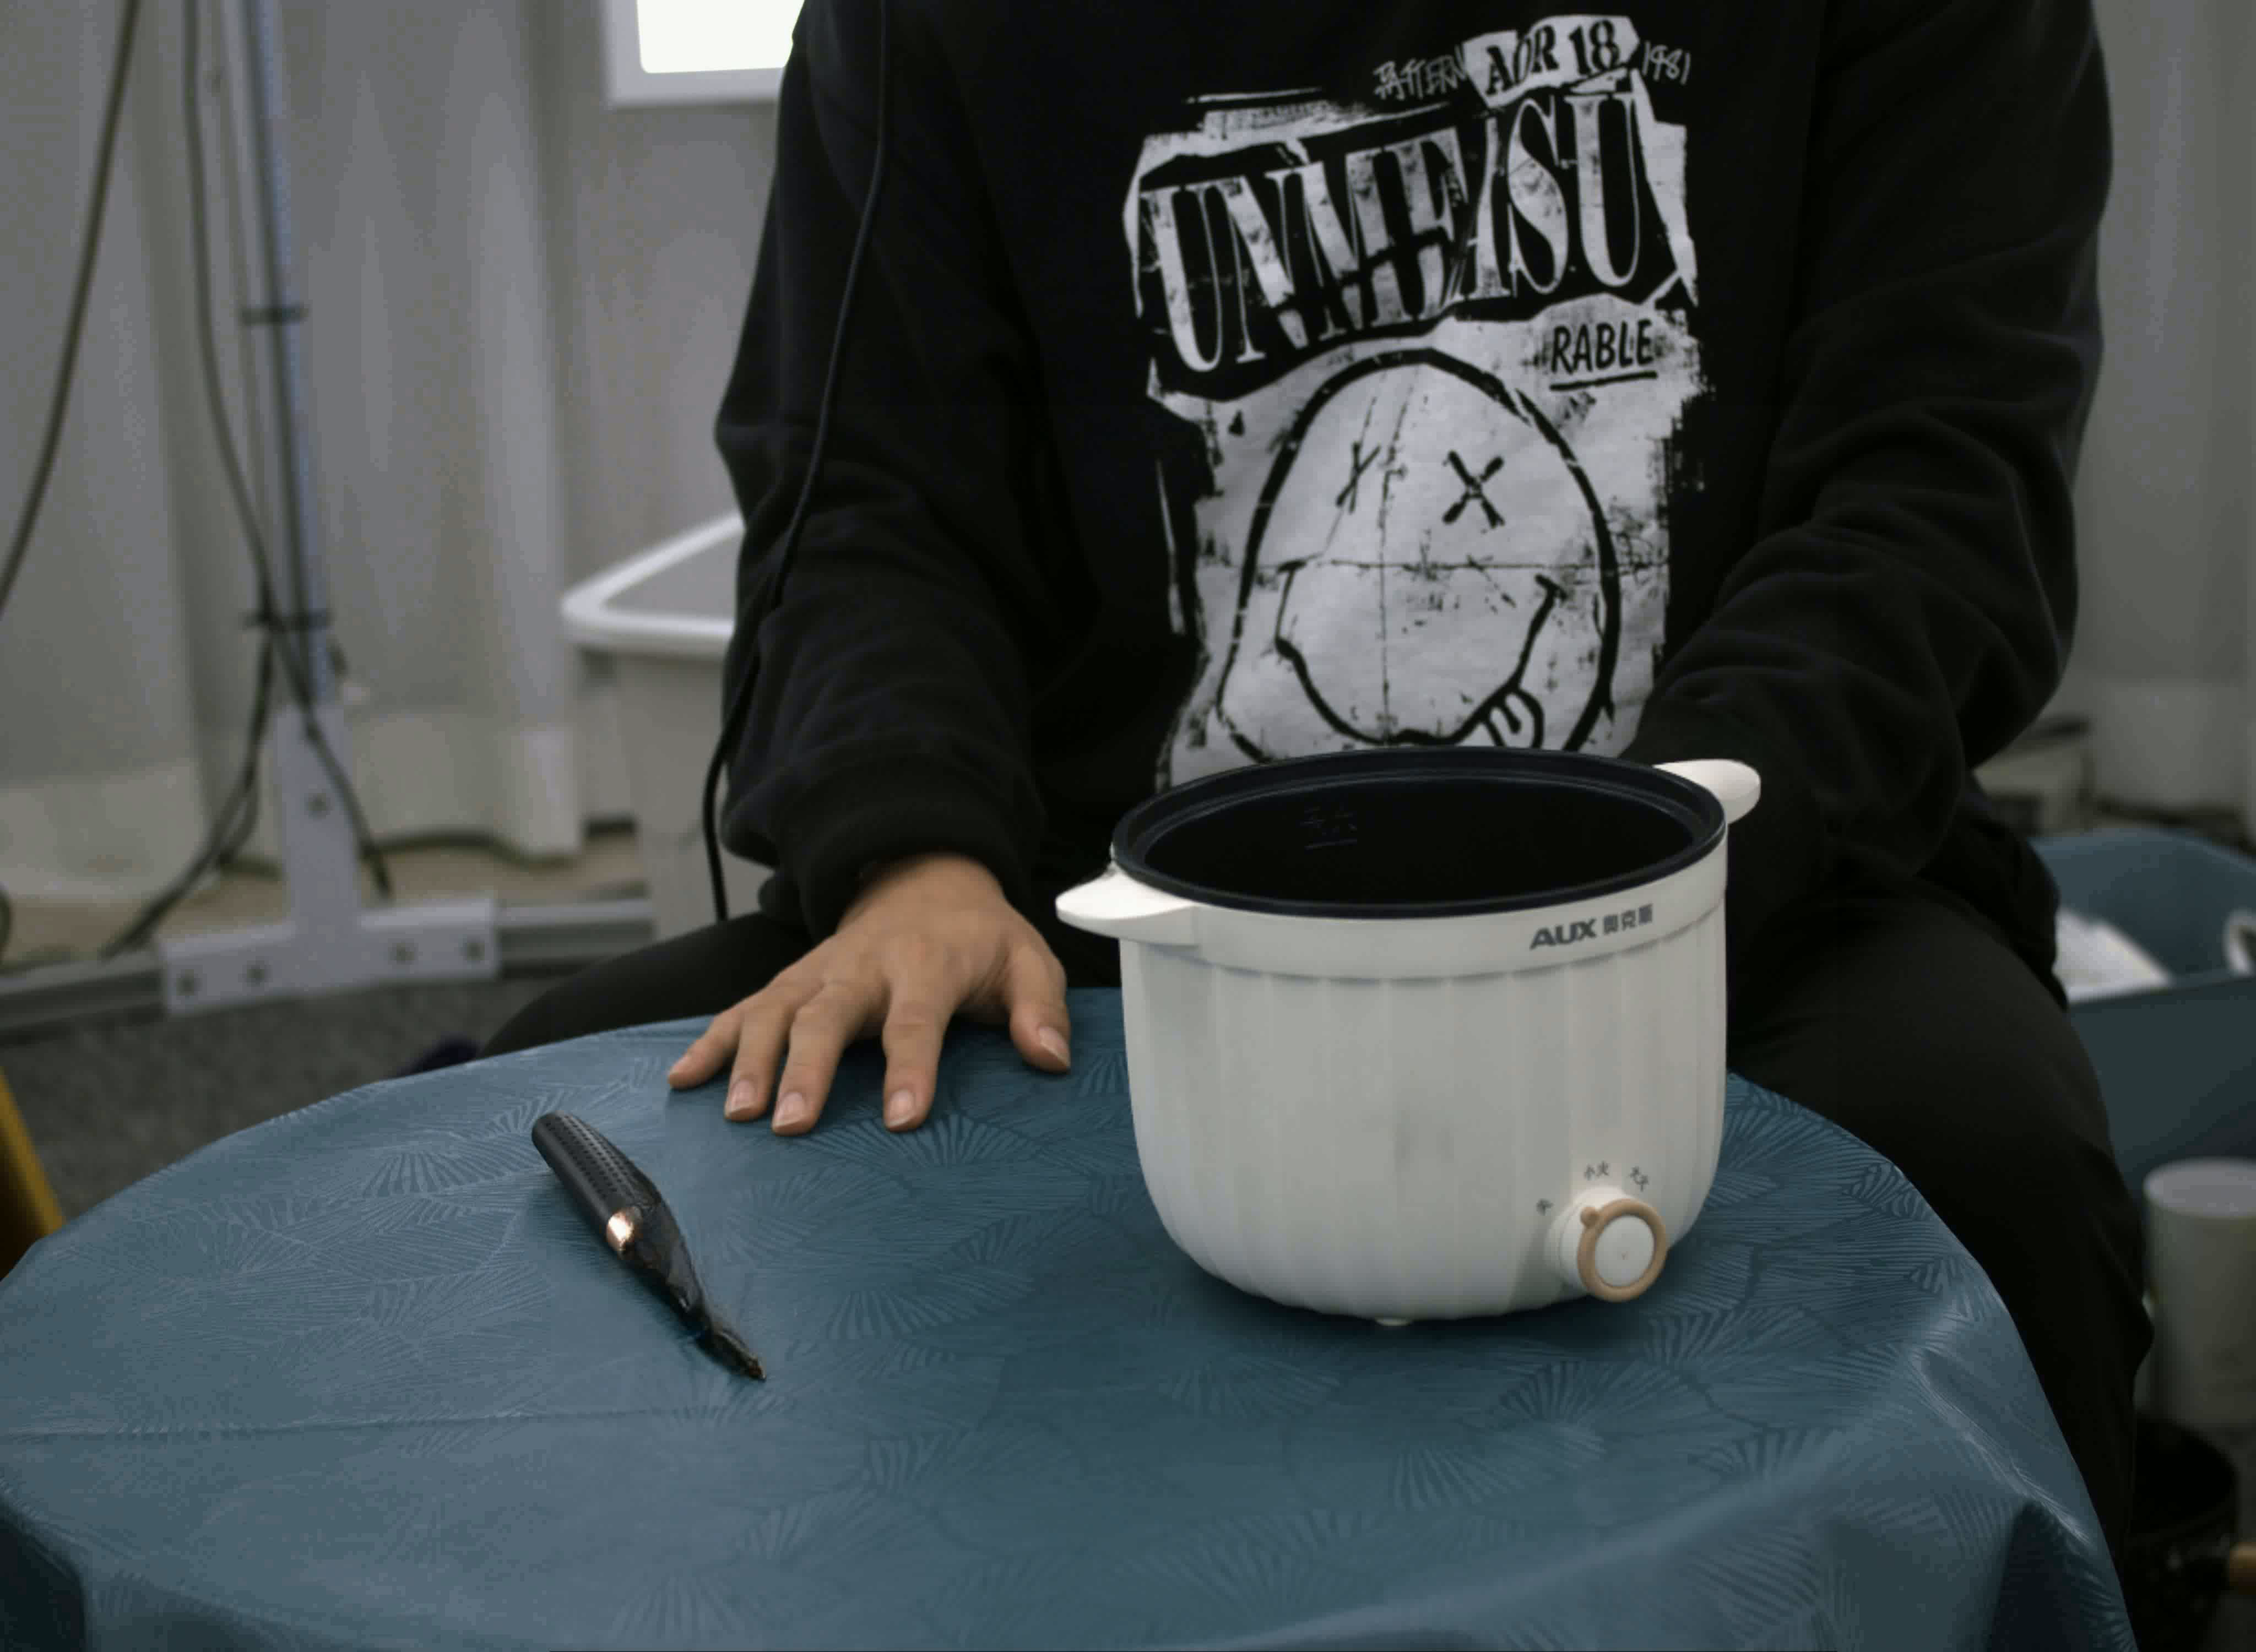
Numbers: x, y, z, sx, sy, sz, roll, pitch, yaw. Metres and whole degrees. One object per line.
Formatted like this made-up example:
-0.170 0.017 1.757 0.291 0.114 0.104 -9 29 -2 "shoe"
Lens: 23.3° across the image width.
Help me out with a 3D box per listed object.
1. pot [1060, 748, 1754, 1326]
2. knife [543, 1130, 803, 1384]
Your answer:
0.093 0.064 1.620 0.239 0.142 0.191 -12 14 -29 "pot"
-0.141 0.131 1.665 0.026 0.017 0.227 8 11 -23 "knife"
